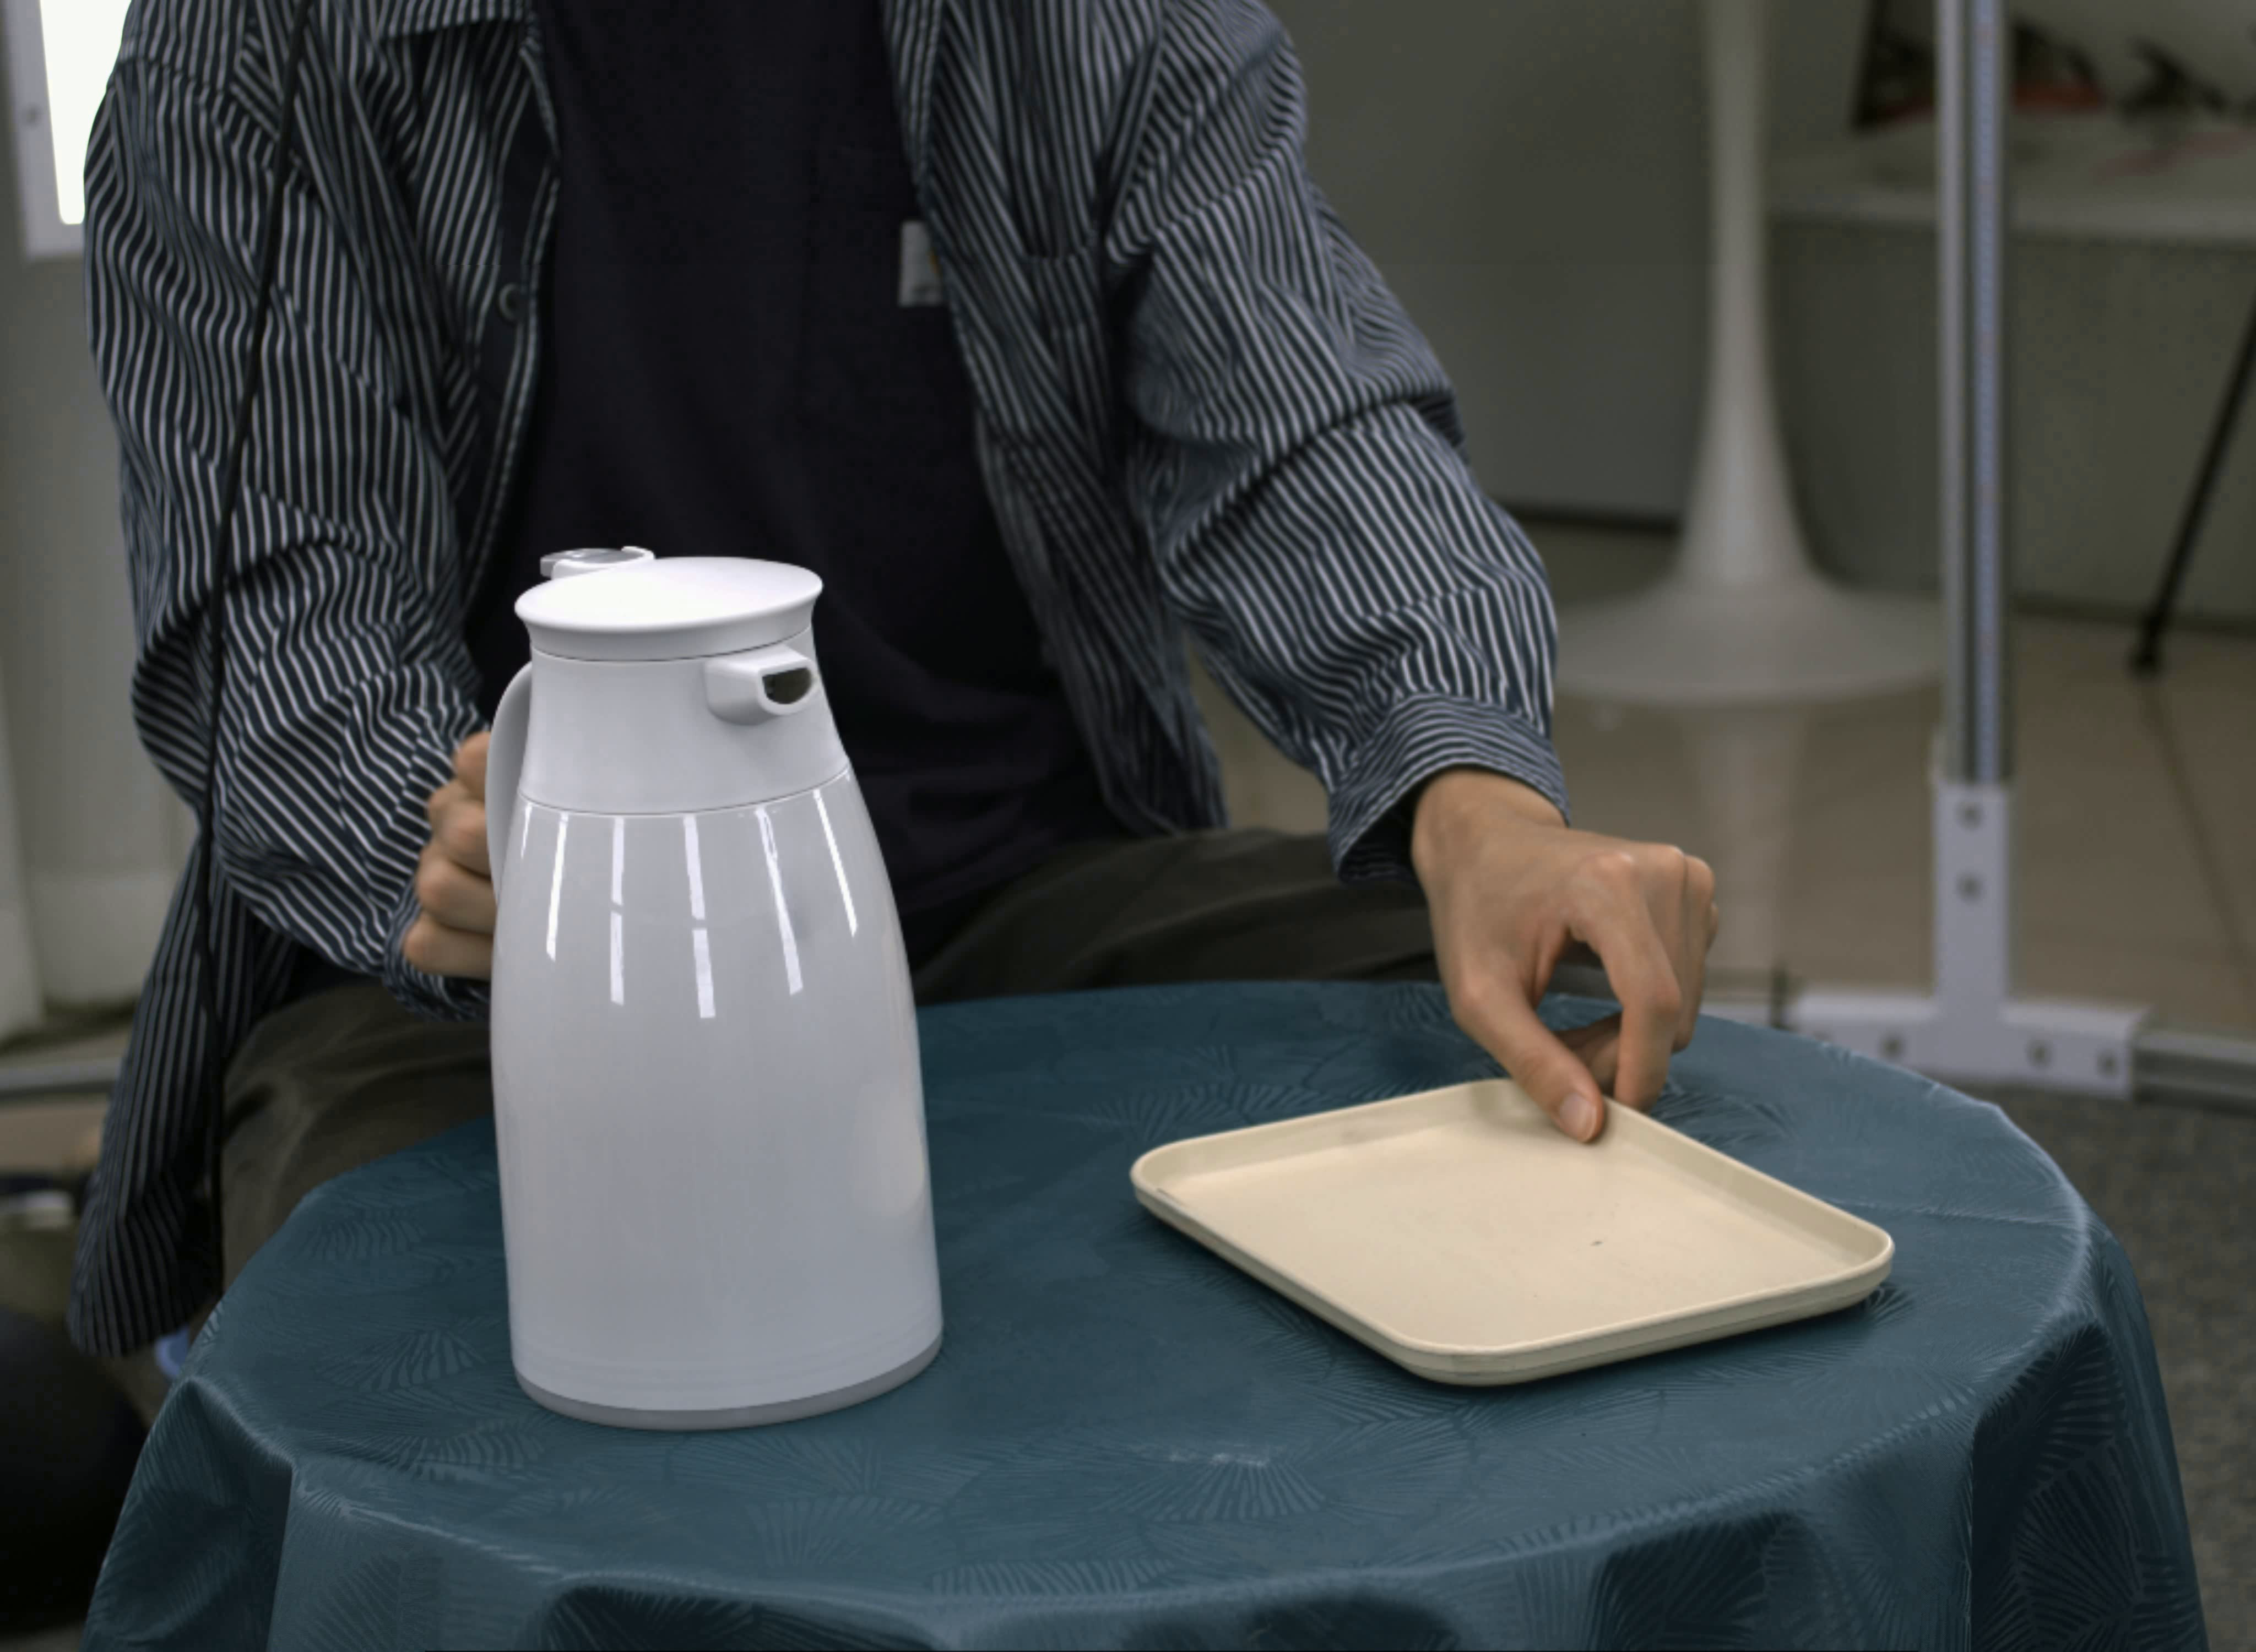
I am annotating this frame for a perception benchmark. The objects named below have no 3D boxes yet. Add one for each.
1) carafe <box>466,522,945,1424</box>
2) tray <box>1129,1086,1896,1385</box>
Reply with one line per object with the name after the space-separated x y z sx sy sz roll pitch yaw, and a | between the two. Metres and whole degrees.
-0.141 0.036 1.624 0.130 0.251 0.169 -15 17 -38 | carafe
0.116 0.126 1.678 0.167 0.017 0.242 -9 14 -23 | tray
